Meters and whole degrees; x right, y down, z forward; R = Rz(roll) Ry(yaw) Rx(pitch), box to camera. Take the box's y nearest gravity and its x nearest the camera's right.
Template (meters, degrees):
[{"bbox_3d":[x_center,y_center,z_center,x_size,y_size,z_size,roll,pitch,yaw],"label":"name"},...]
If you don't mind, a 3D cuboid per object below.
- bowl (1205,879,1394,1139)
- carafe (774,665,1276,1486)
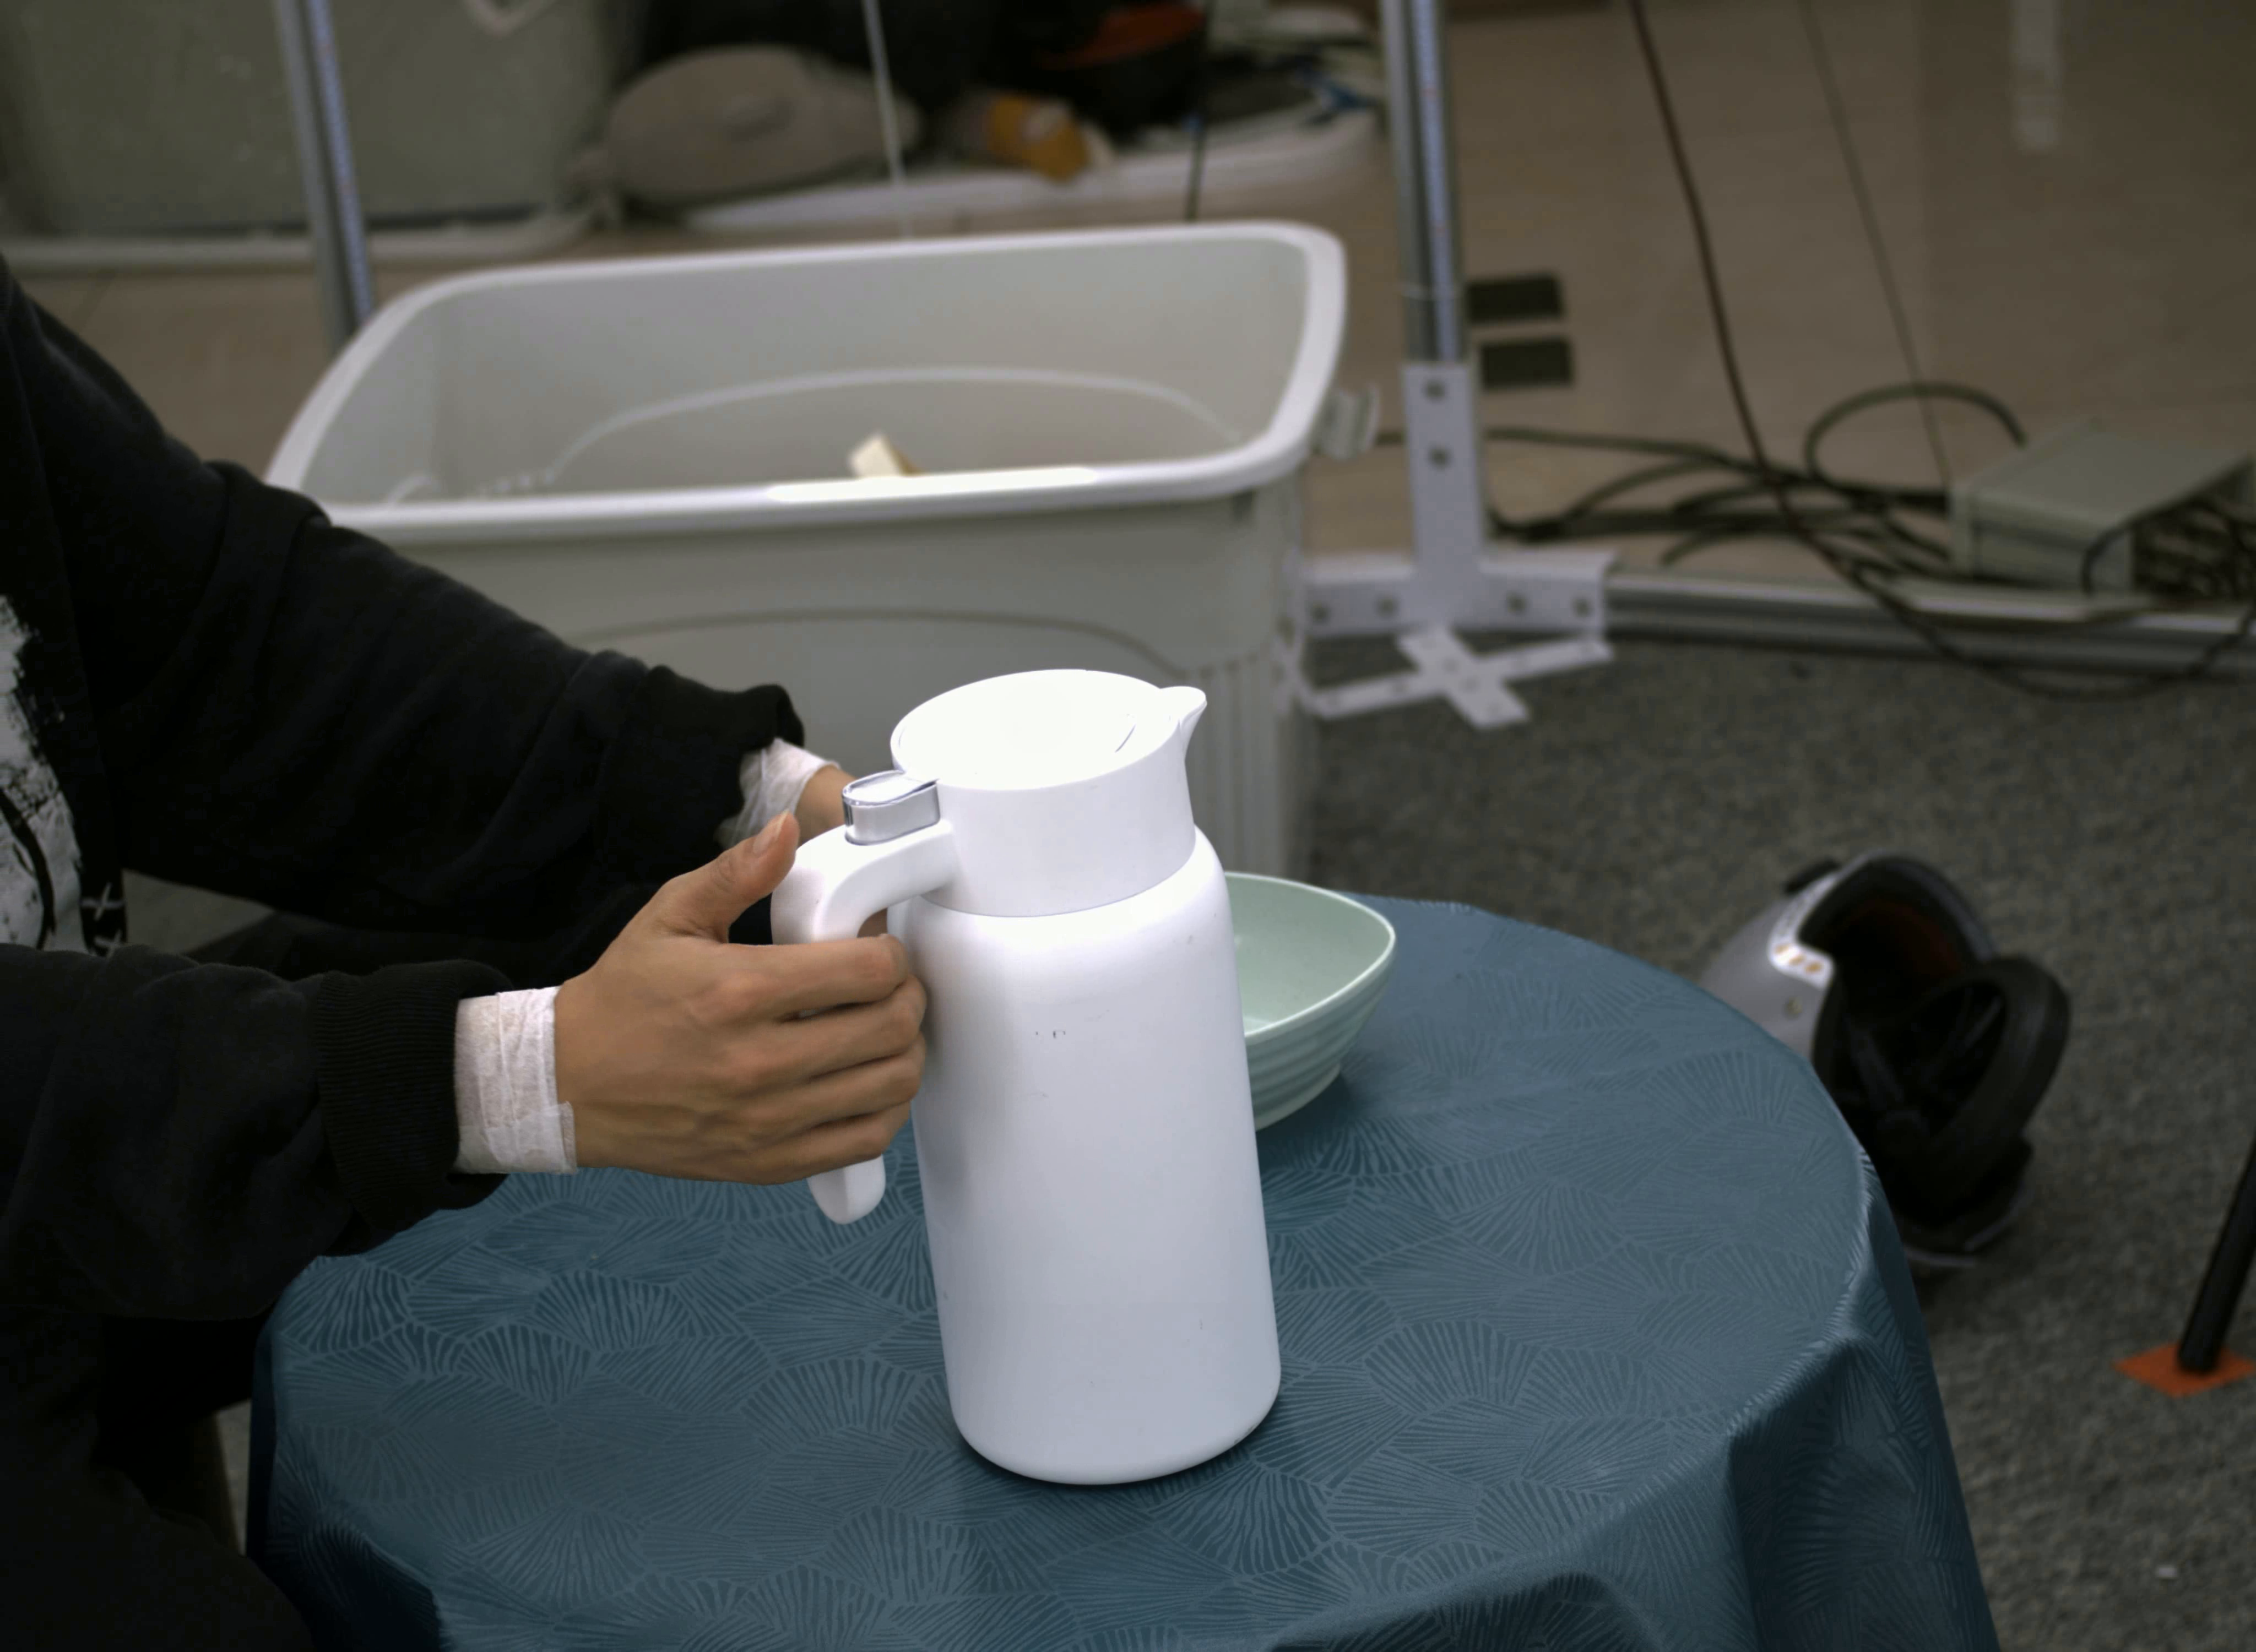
[{"bbox_3d":[0.030,0.078,2.209,0.151,0.059,0.149,-5,25,2],"label":"bowl"},{"bbox_3d":[-0.031,0.092,1.937,0.171,0.273,0.122,-23,32,-30],"label":"carafe"}]
